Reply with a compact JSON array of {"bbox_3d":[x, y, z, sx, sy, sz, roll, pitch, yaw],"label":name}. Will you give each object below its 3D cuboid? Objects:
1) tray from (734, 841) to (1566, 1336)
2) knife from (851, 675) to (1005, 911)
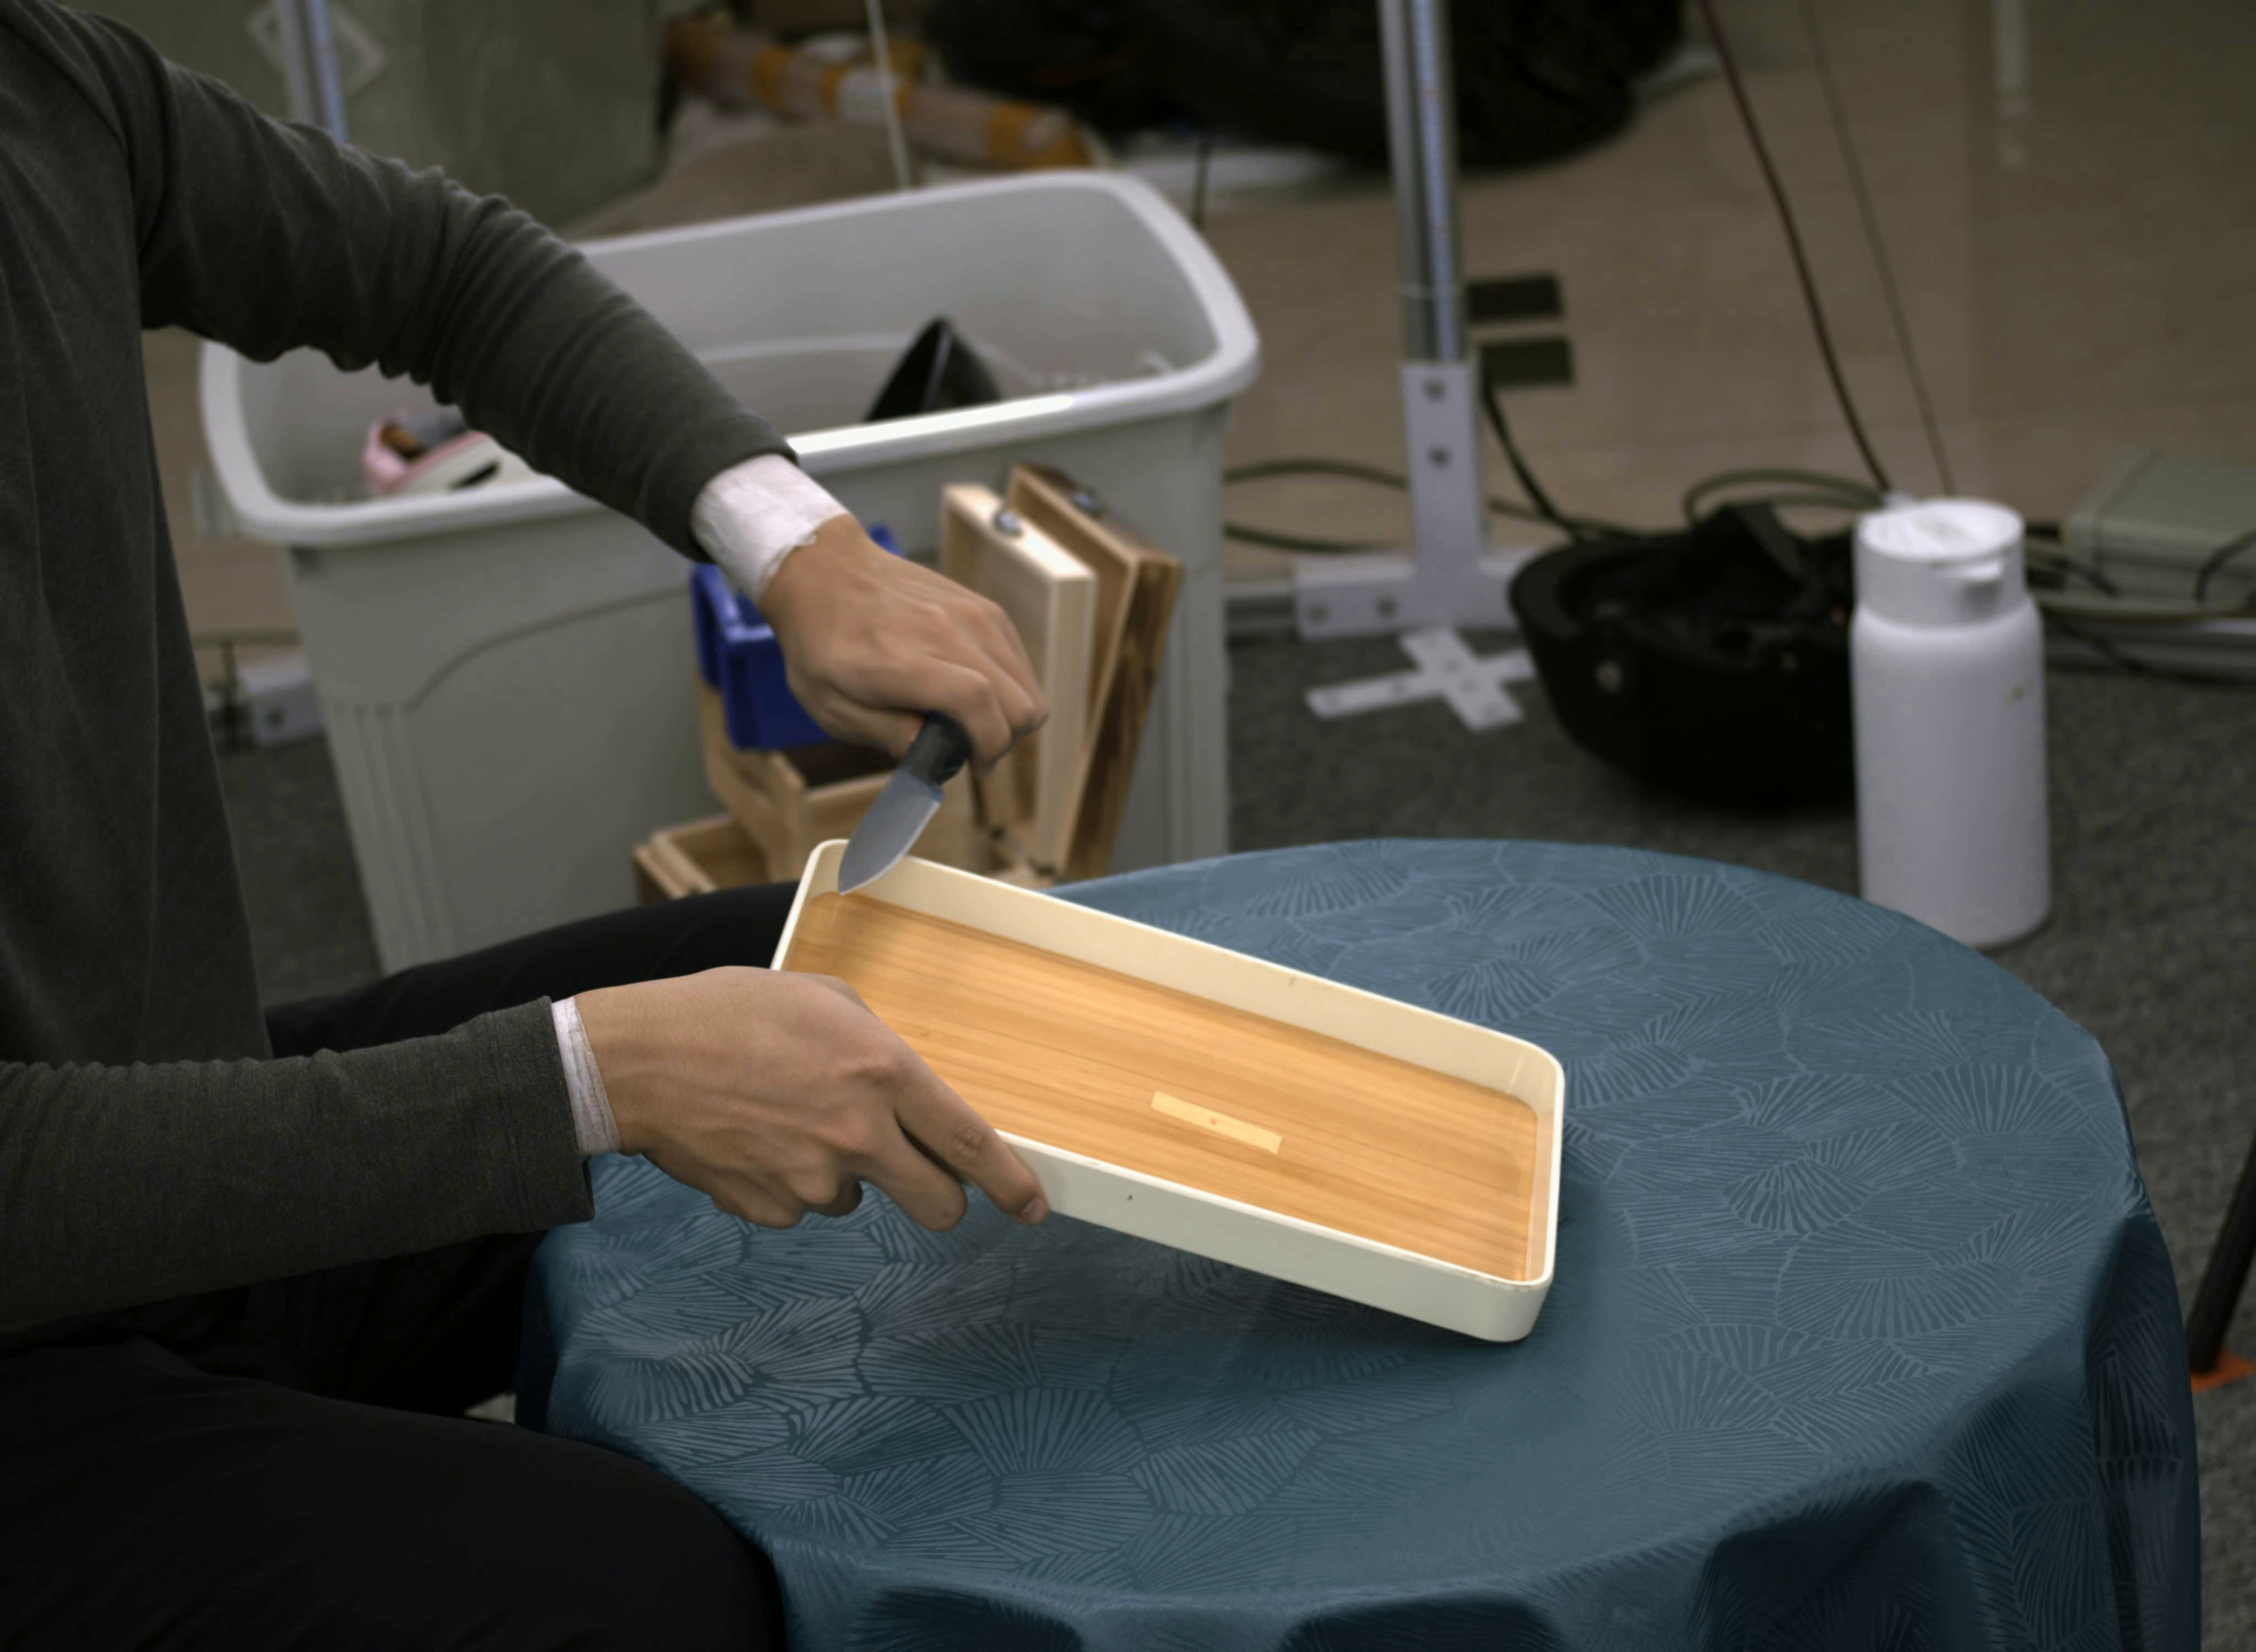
[{"bbox_3d":[0.013,0.094,2.085,0.300,0.028,0.189,17,25,-2],"label":"tray"},{"bbox_3d":[-0.080,-0.014,2.176,0.024,0.016,0.235,27,24,0],"label":"knife"}]
